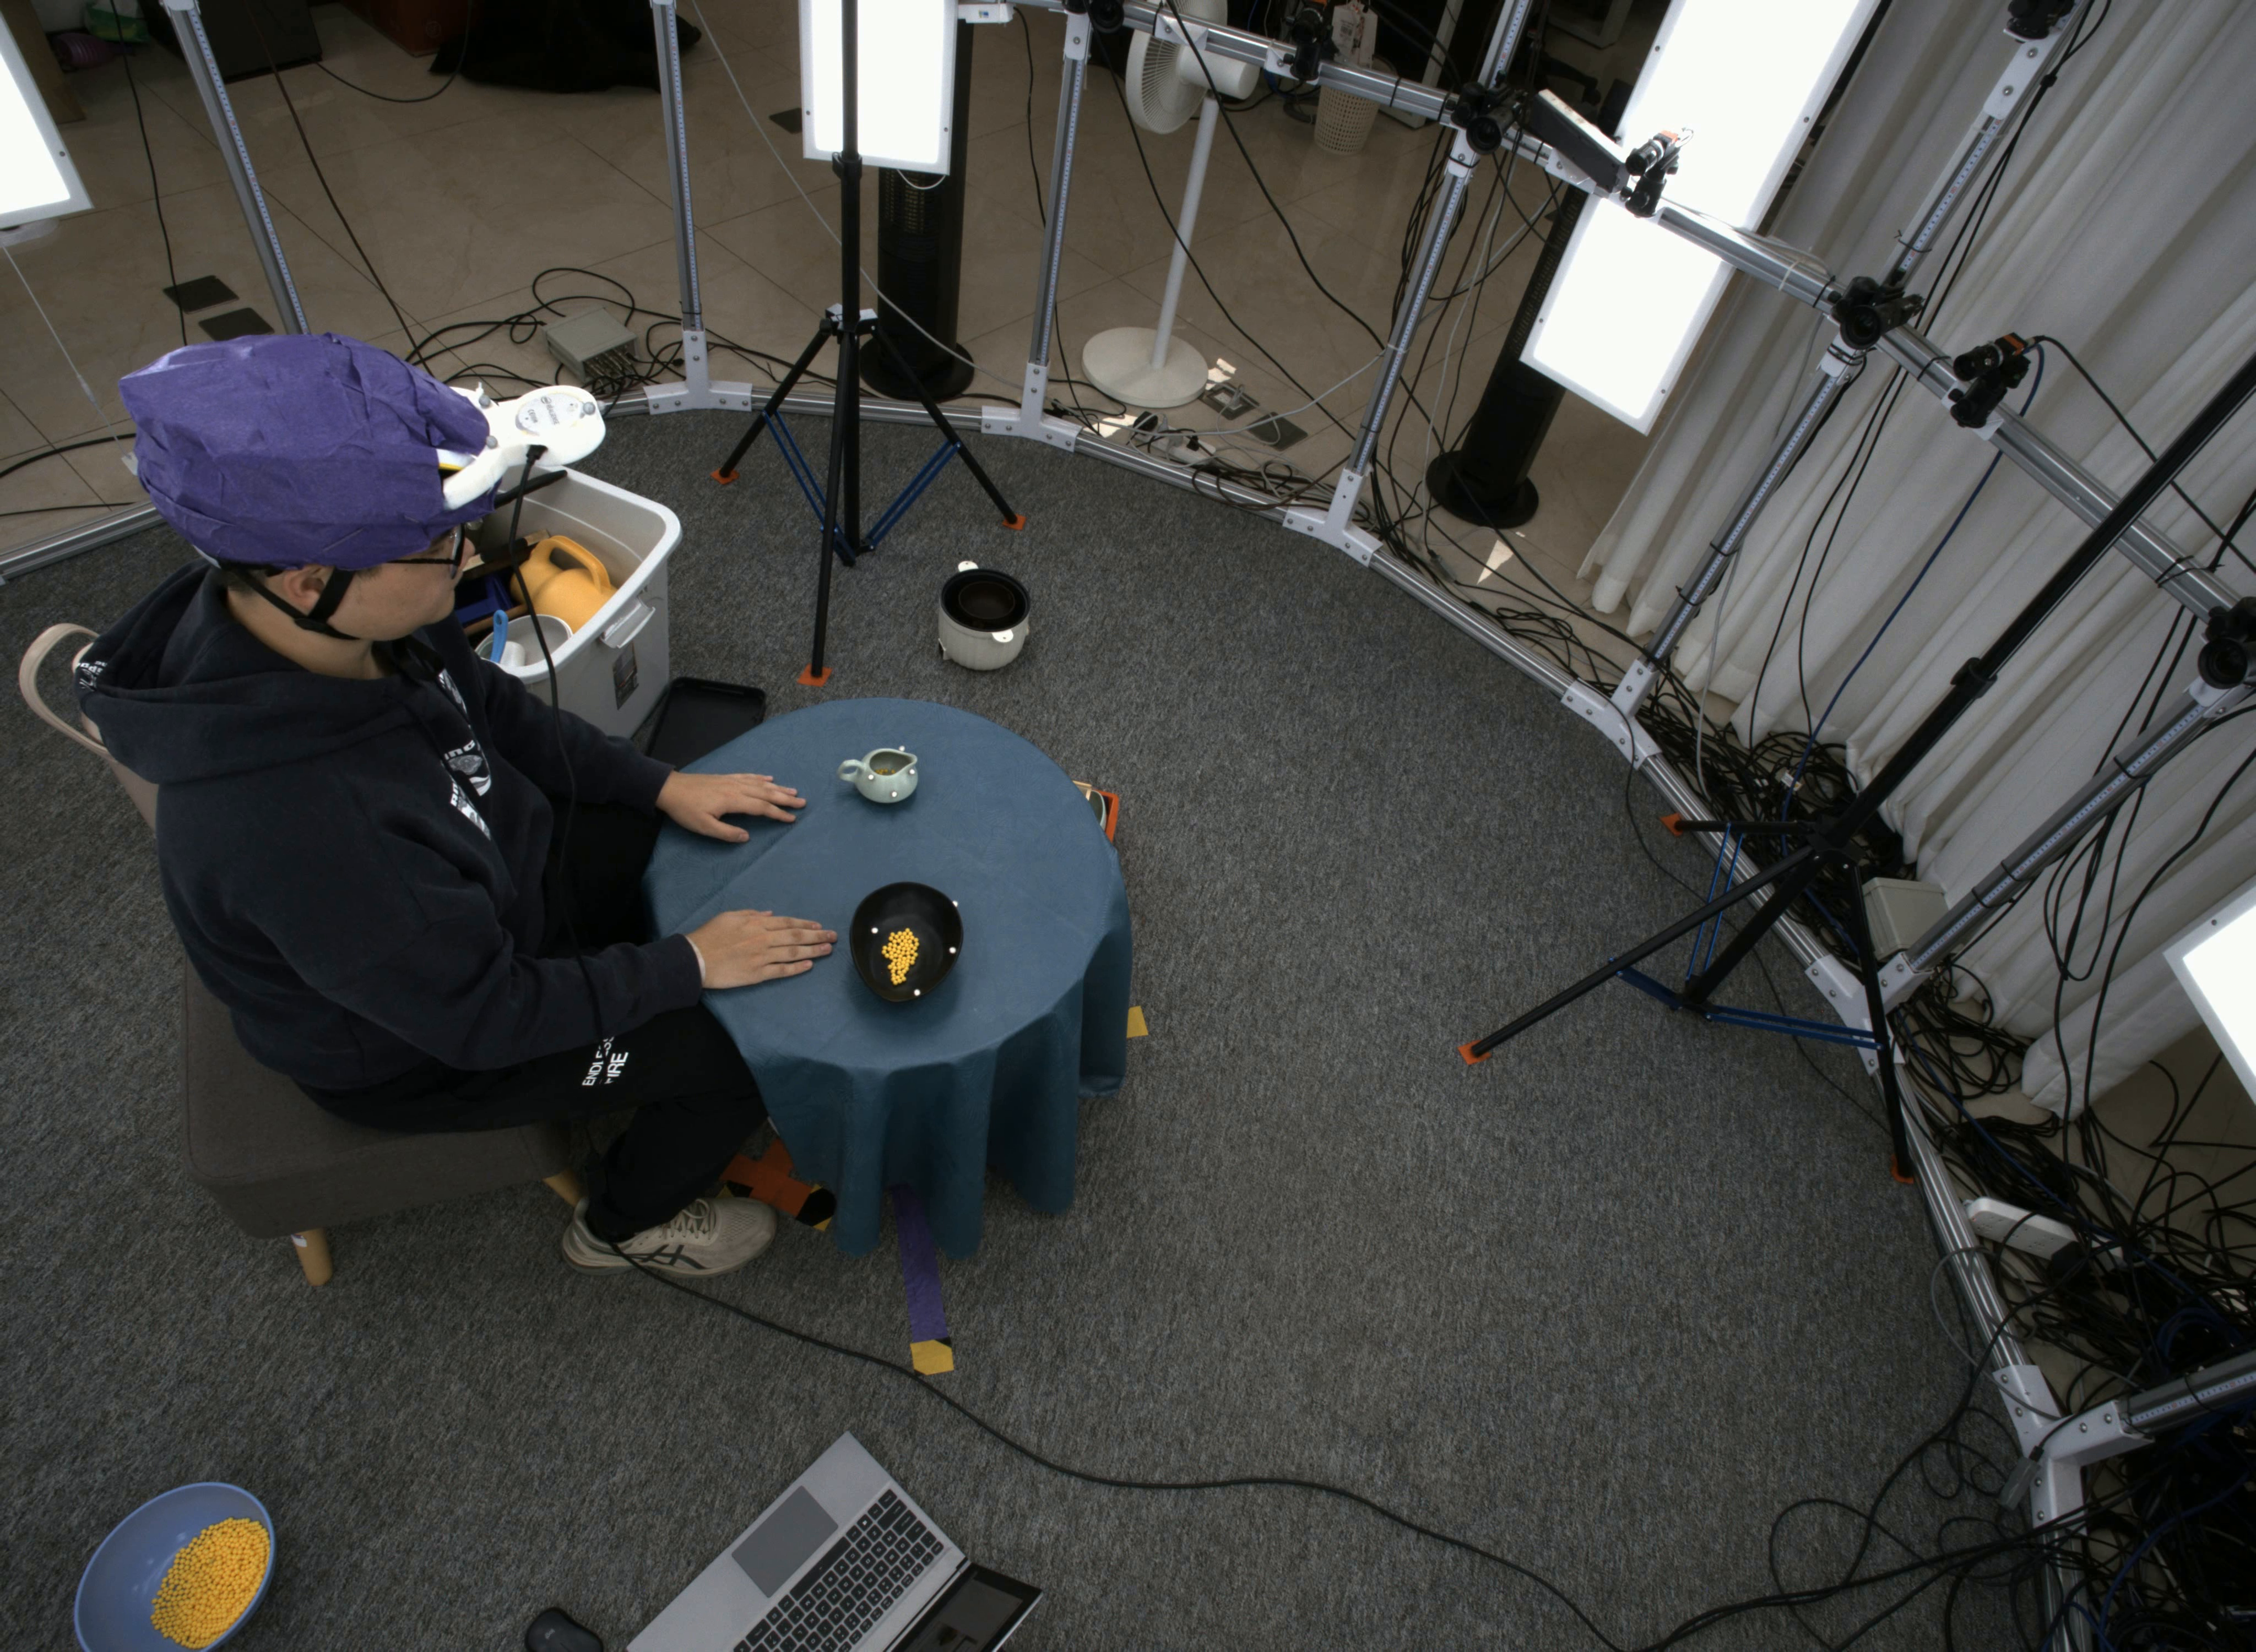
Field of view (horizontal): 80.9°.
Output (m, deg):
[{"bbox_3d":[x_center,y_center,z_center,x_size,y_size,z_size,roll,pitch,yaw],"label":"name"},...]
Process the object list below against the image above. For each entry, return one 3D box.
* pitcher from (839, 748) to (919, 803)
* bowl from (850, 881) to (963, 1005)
[{"bbox_3d":[-0.337,-0.071,1.759,0.108,0.062,0.084,-8,54,-16],"label":"pitcher"},{"bbox_3d":[-0.273,0.151,1.605,0.137,0.068,0.167,5,53,-9],"label":"bowl"}]
